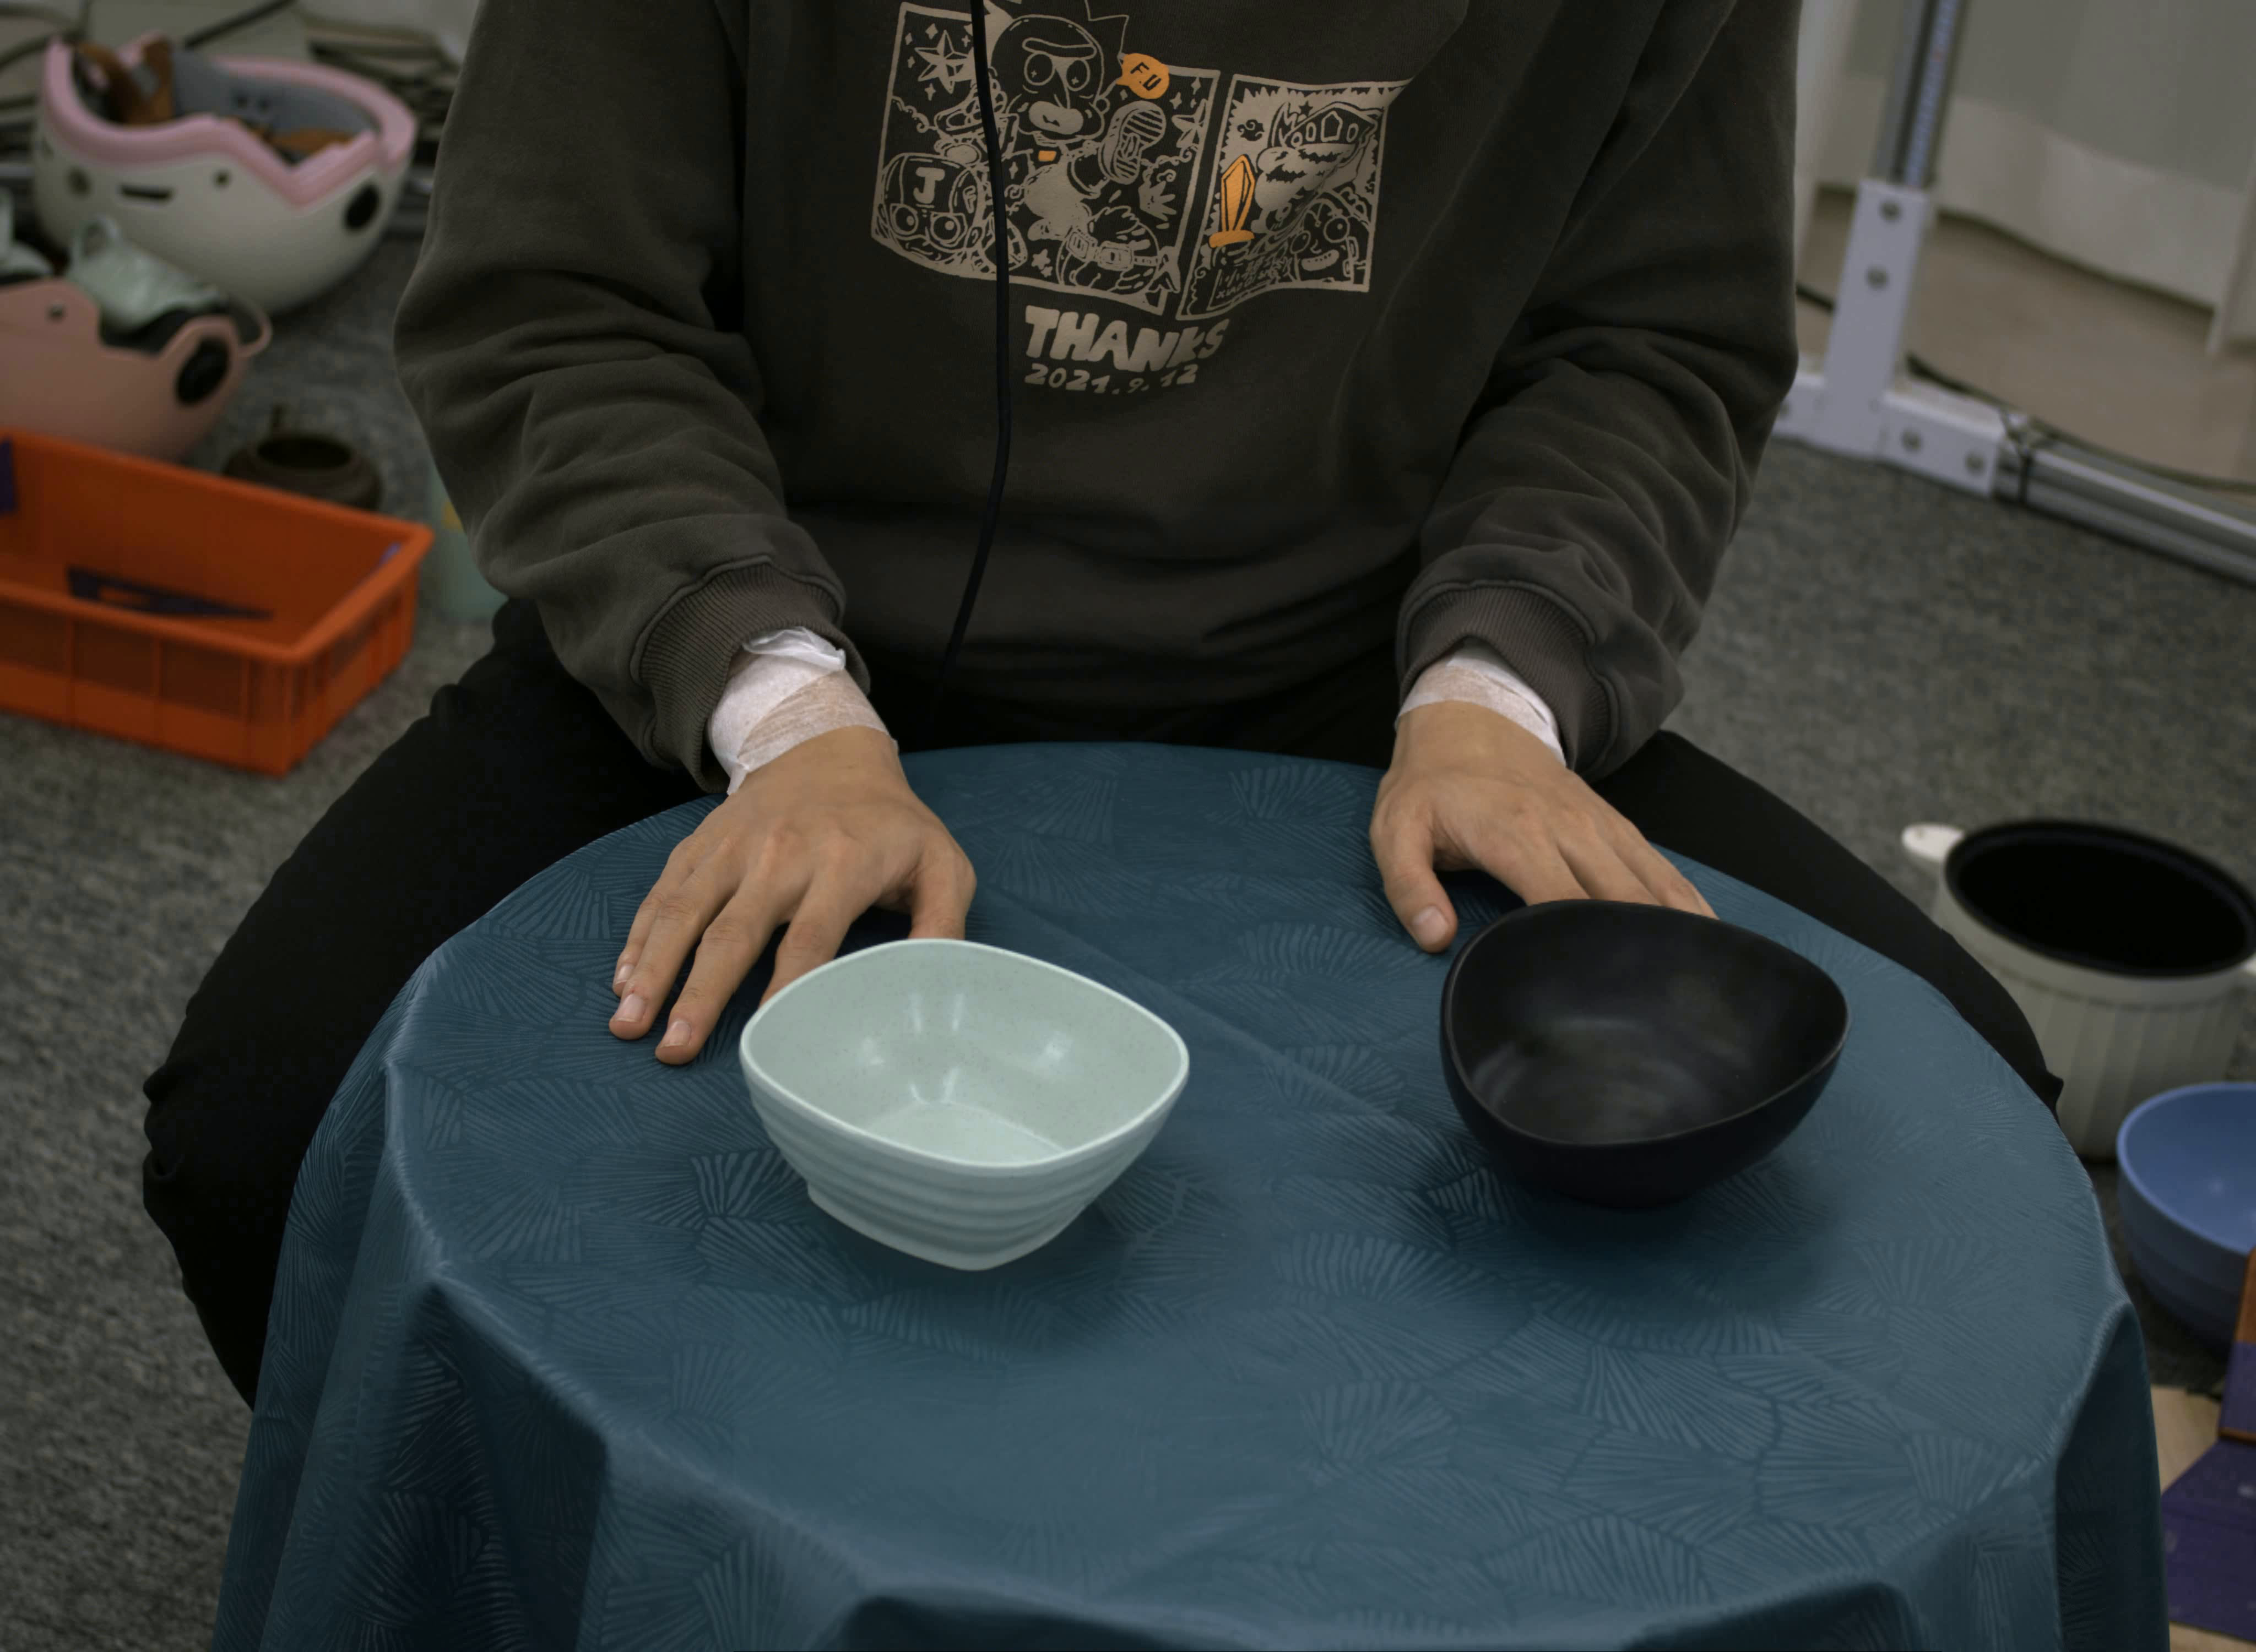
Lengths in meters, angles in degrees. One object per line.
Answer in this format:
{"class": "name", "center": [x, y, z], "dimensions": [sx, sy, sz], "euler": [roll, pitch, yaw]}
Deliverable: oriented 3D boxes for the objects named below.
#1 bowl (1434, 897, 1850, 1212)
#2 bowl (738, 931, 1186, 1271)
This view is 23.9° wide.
{"class": "bowl", "center": [0.174, 0.089, 1.842], "dimensions": [0.138, 0.066, 0.170], "euler": [18, 30, 22]}
{"class": "bowl", "center": [-0.058, 0.098, 1.778], "dimensions": [0.151, 0.058, 0.152], "euler": [6, 28, -4]}
